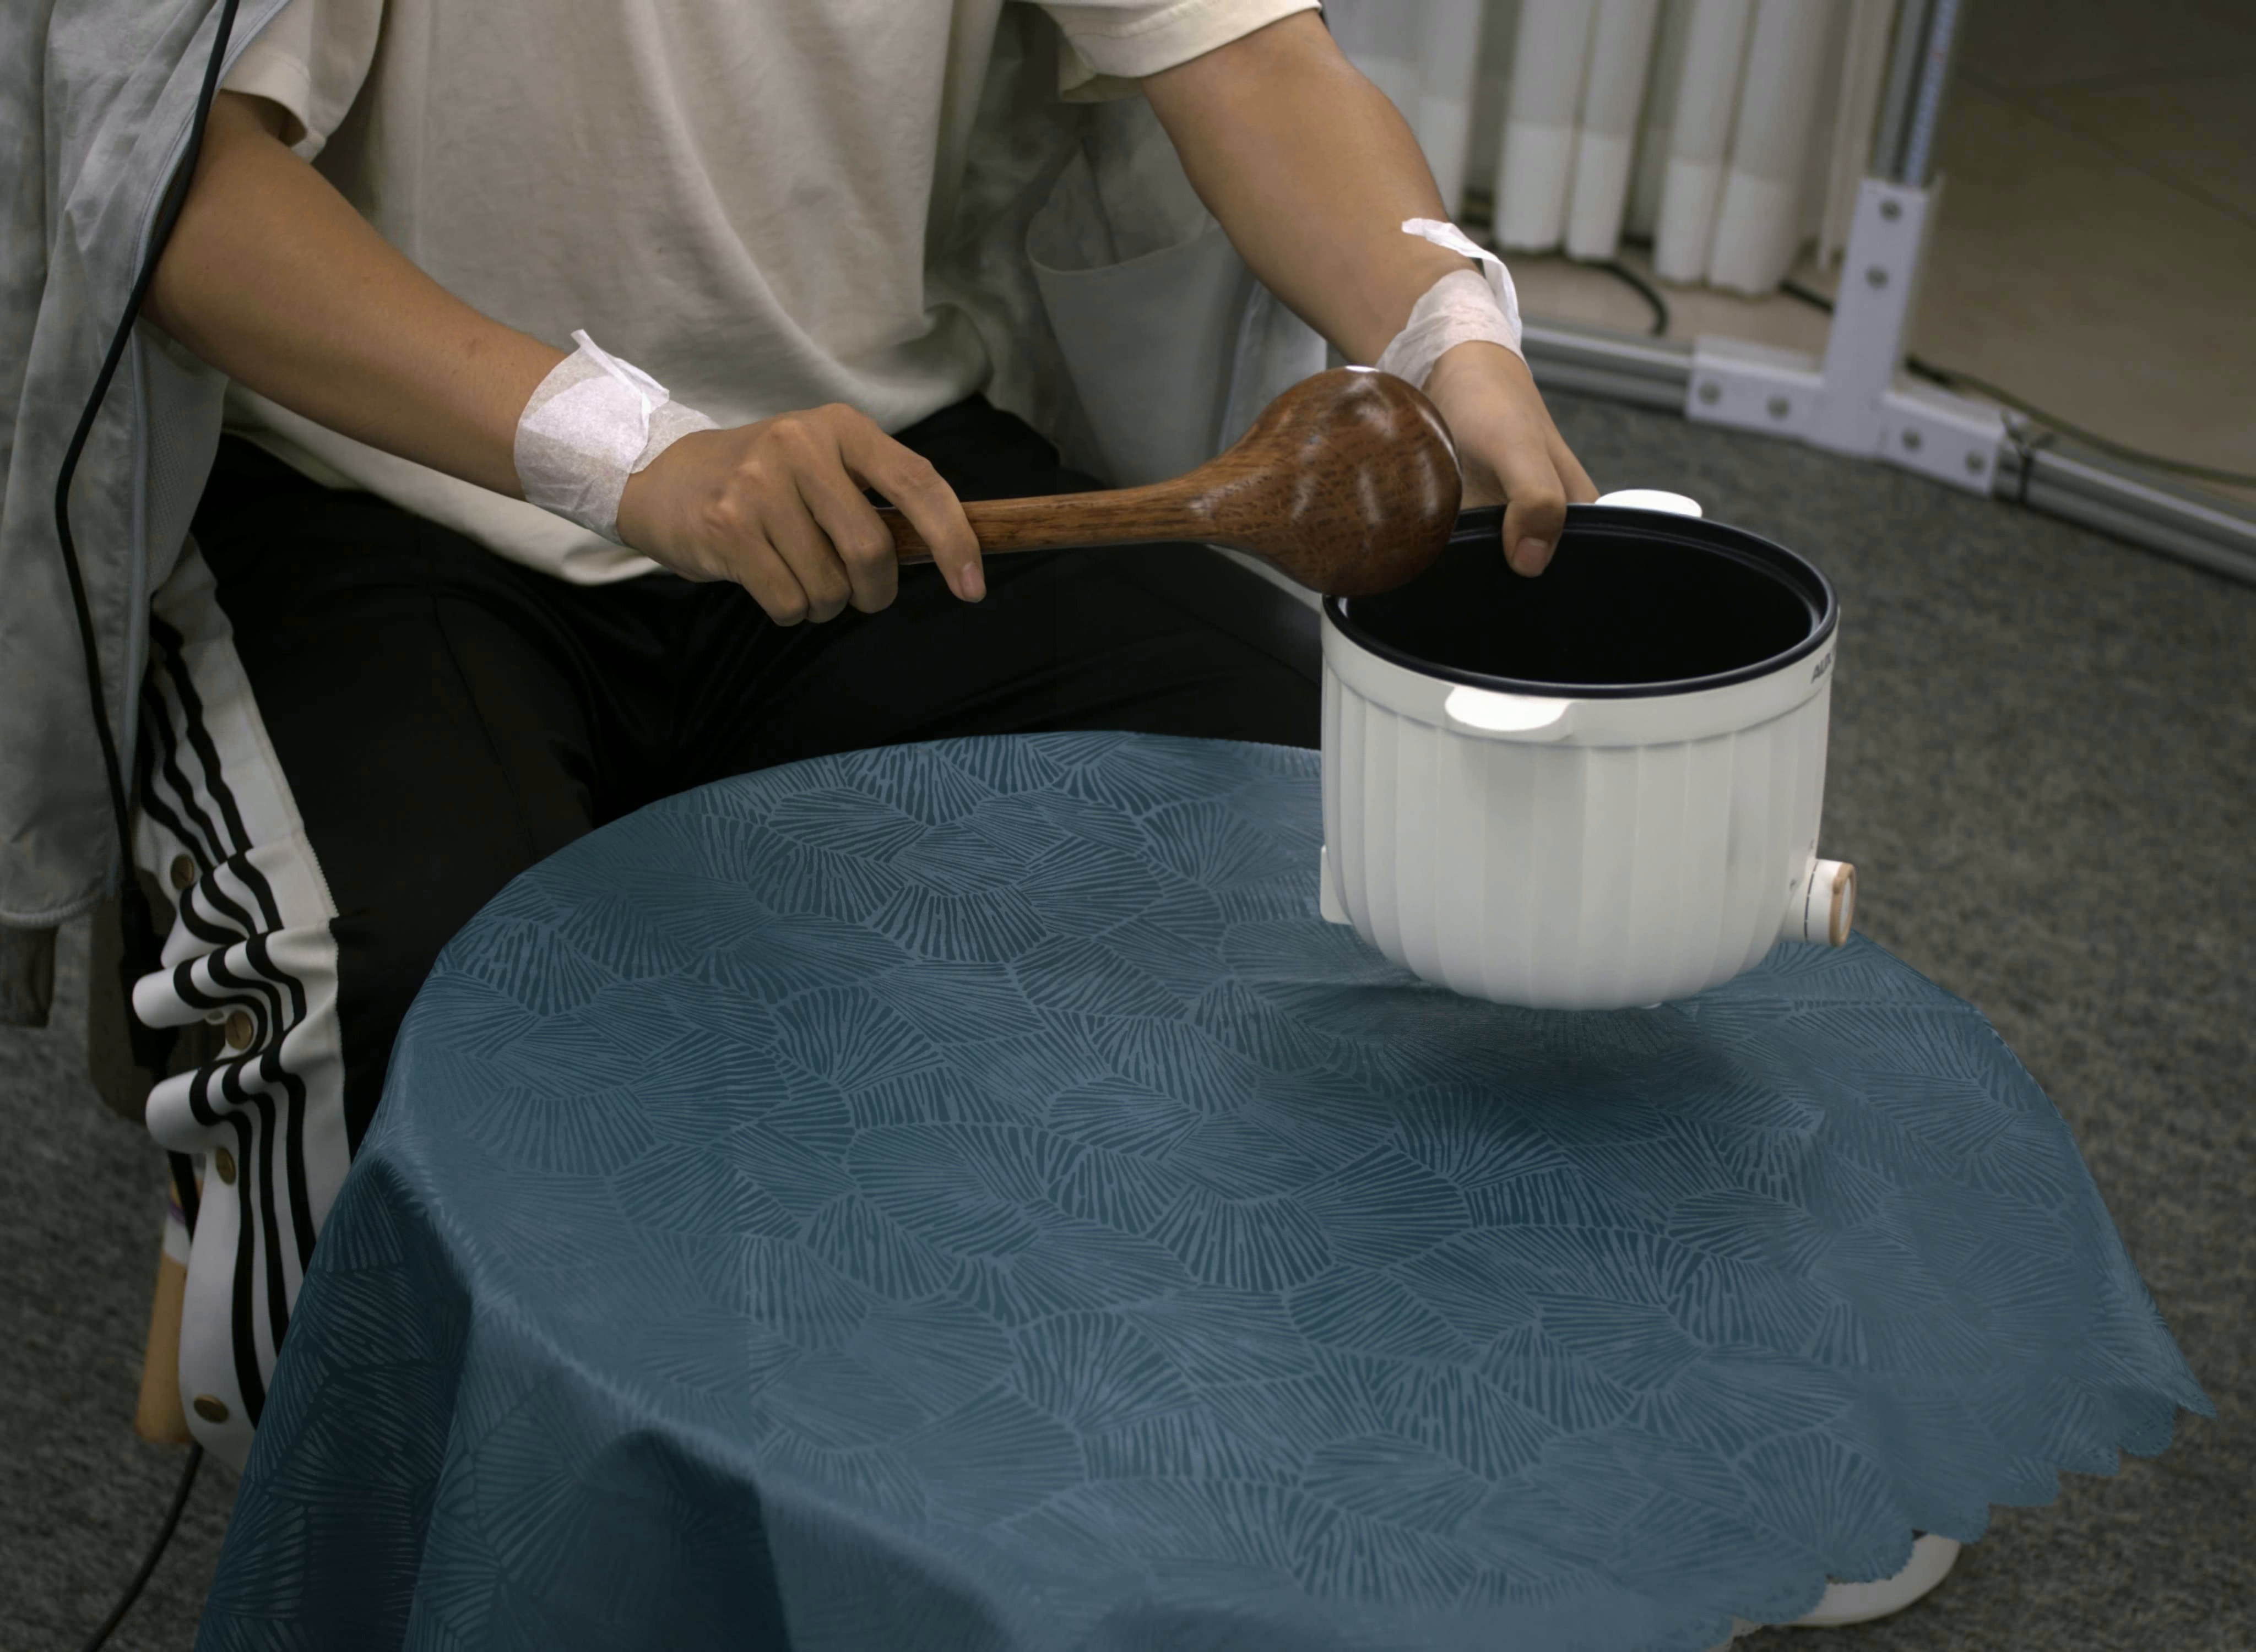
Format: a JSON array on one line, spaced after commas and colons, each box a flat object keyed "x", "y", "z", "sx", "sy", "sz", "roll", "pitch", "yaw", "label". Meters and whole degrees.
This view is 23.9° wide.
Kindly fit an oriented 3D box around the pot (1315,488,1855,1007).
[{"x": 0.162, "y": -0.022, "z": 1.890, "sx": 0.191, "sy": 0.142, "sz": 0.240, "roll": 4, "pitch": 24, "yaw": 18, "label": "pot"}]

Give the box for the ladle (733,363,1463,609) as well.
[{"x": -0.011, "y": -0.111, "z": 1.909, "sx": 0.275, "sy": 0.082, "sz": 0.076, "roll": -6, "pitch": 0, "yaw": 32, "label": "ladle"}]
